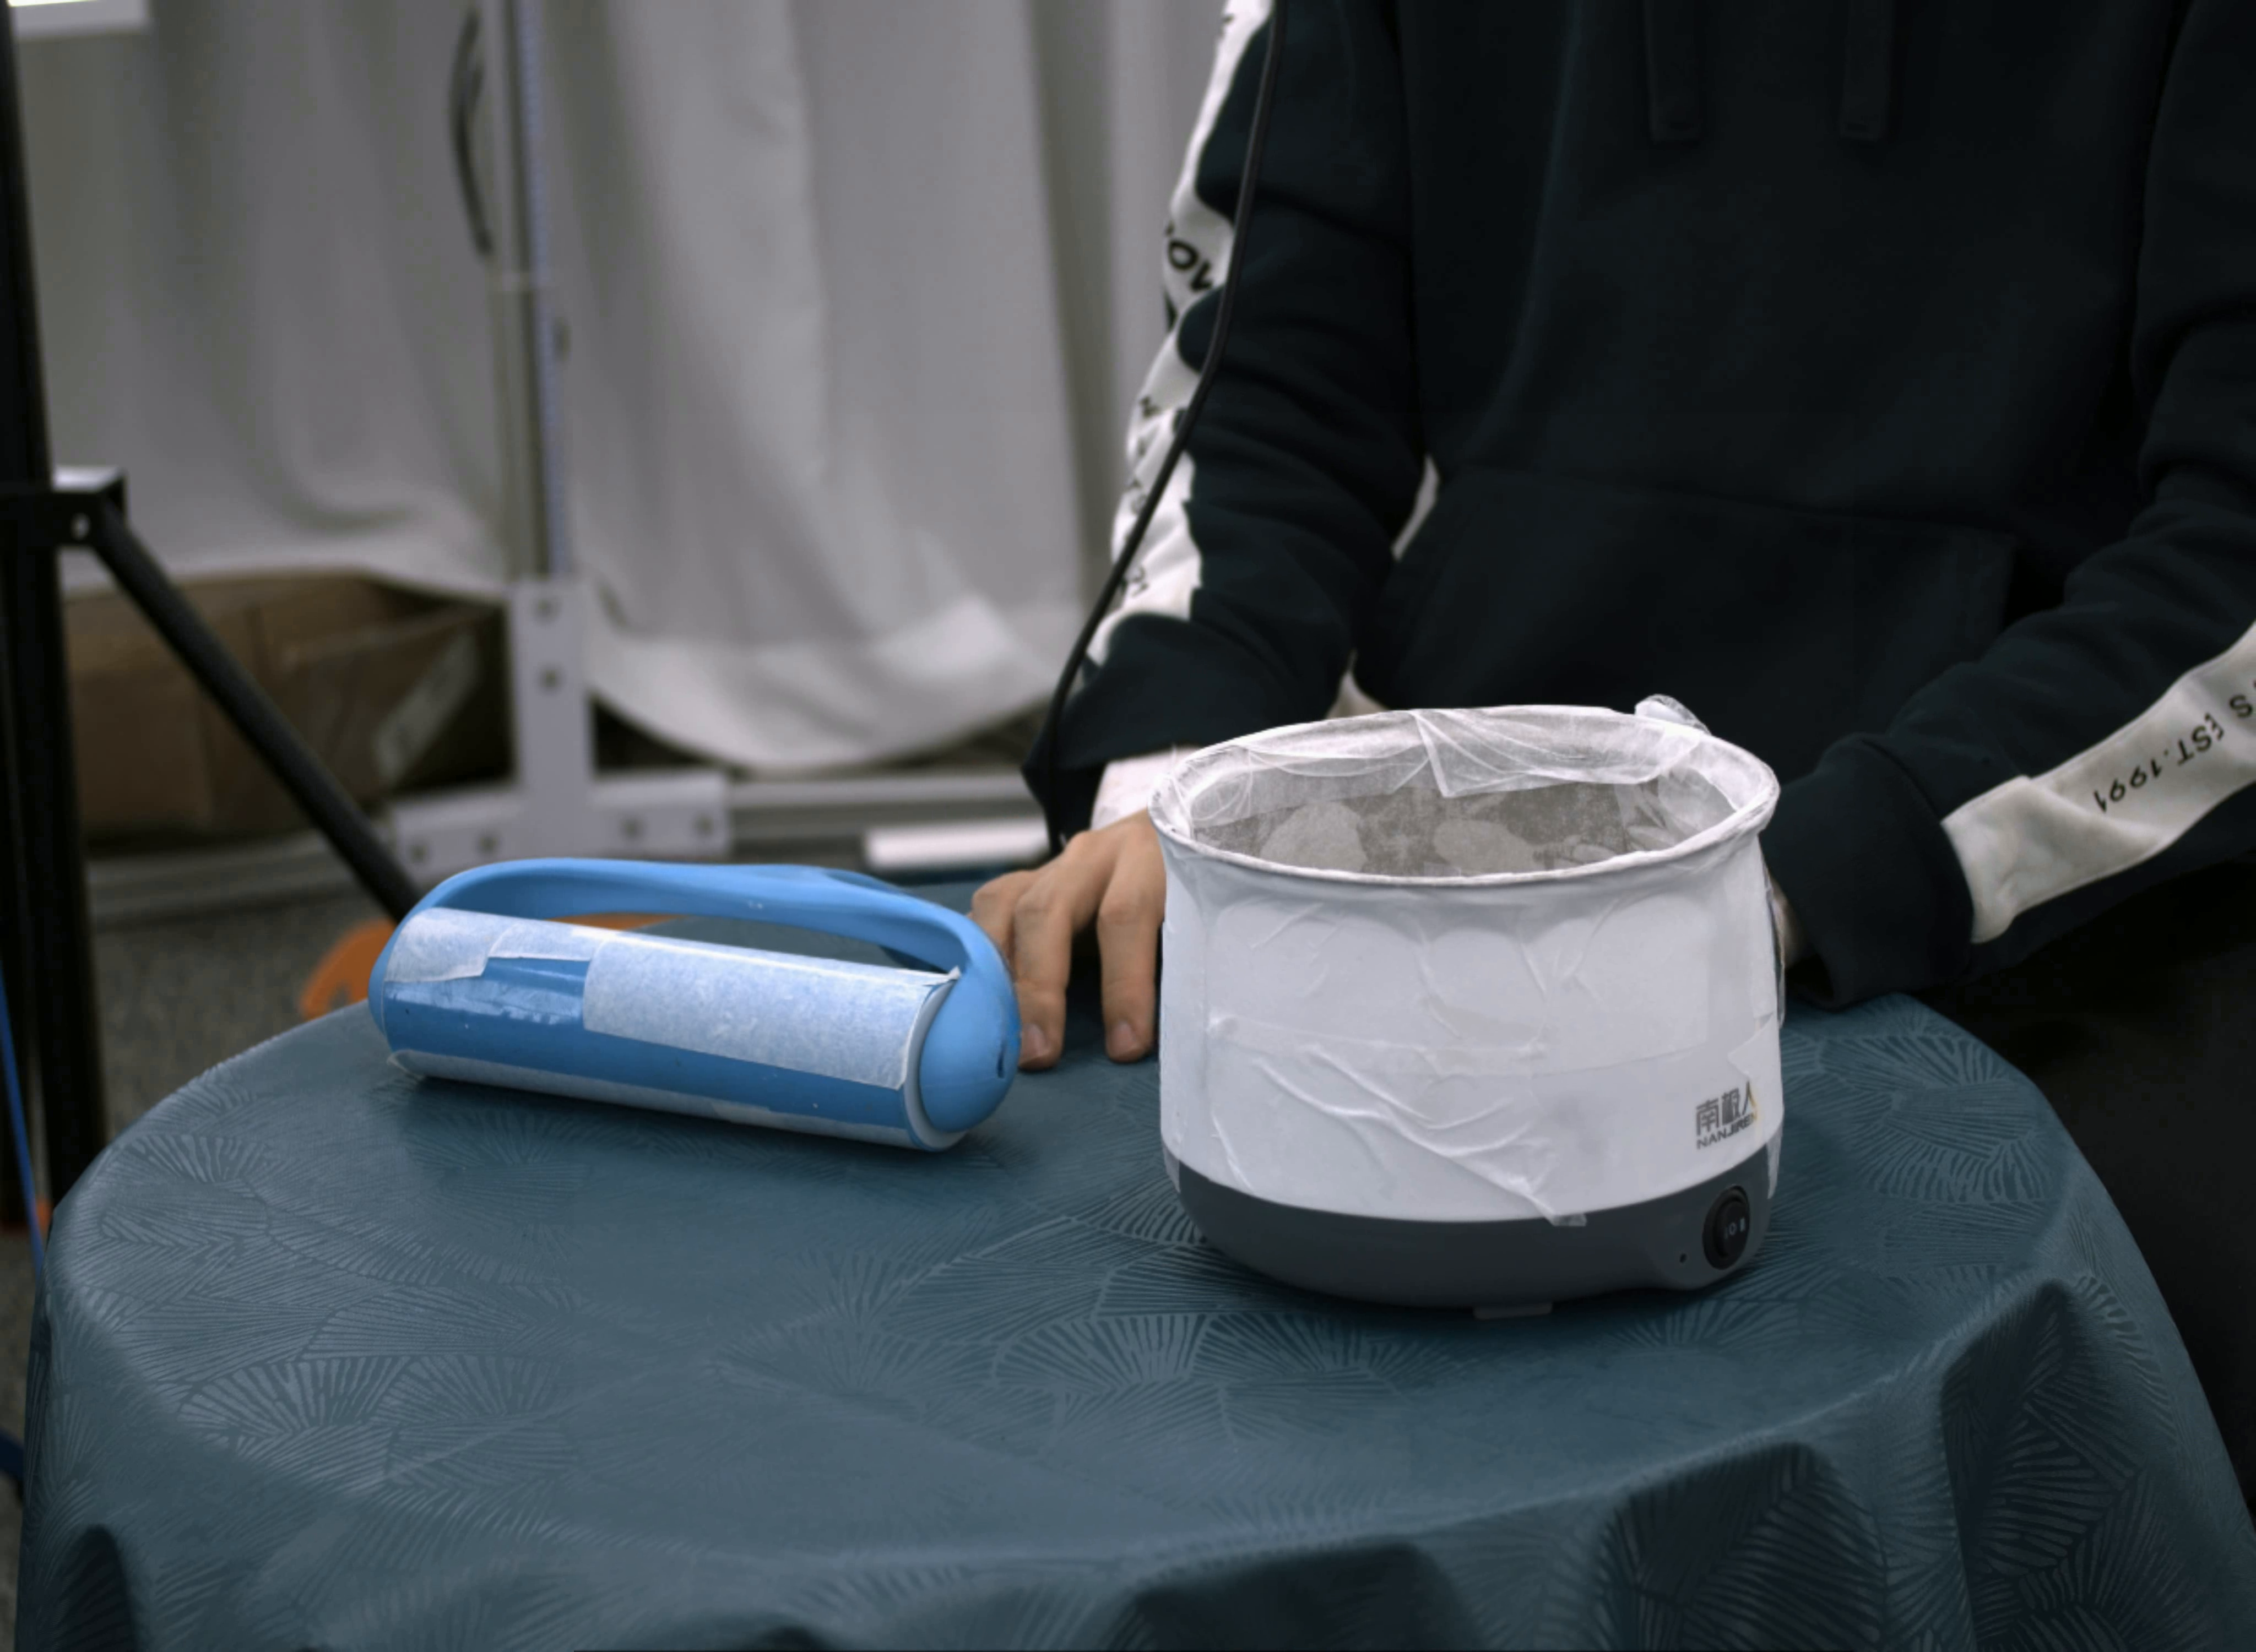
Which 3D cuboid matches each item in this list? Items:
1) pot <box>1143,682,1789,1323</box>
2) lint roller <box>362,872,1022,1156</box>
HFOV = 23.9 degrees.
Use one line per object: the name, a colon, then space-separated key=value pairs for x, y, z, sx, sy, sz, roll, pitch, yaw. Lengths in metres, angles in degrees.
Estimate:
pot: x=0.112 y=0.043 z=1.510 sx=0.182 sy=0.136 sz=0.229 roll=10 pitch=22 yaw=38
lint roller: x=-0.113 y=0.047 z=1.692 sx=0.232 sy=0.068 sz=0.177 roll=3 pitch=18 yaw=26
